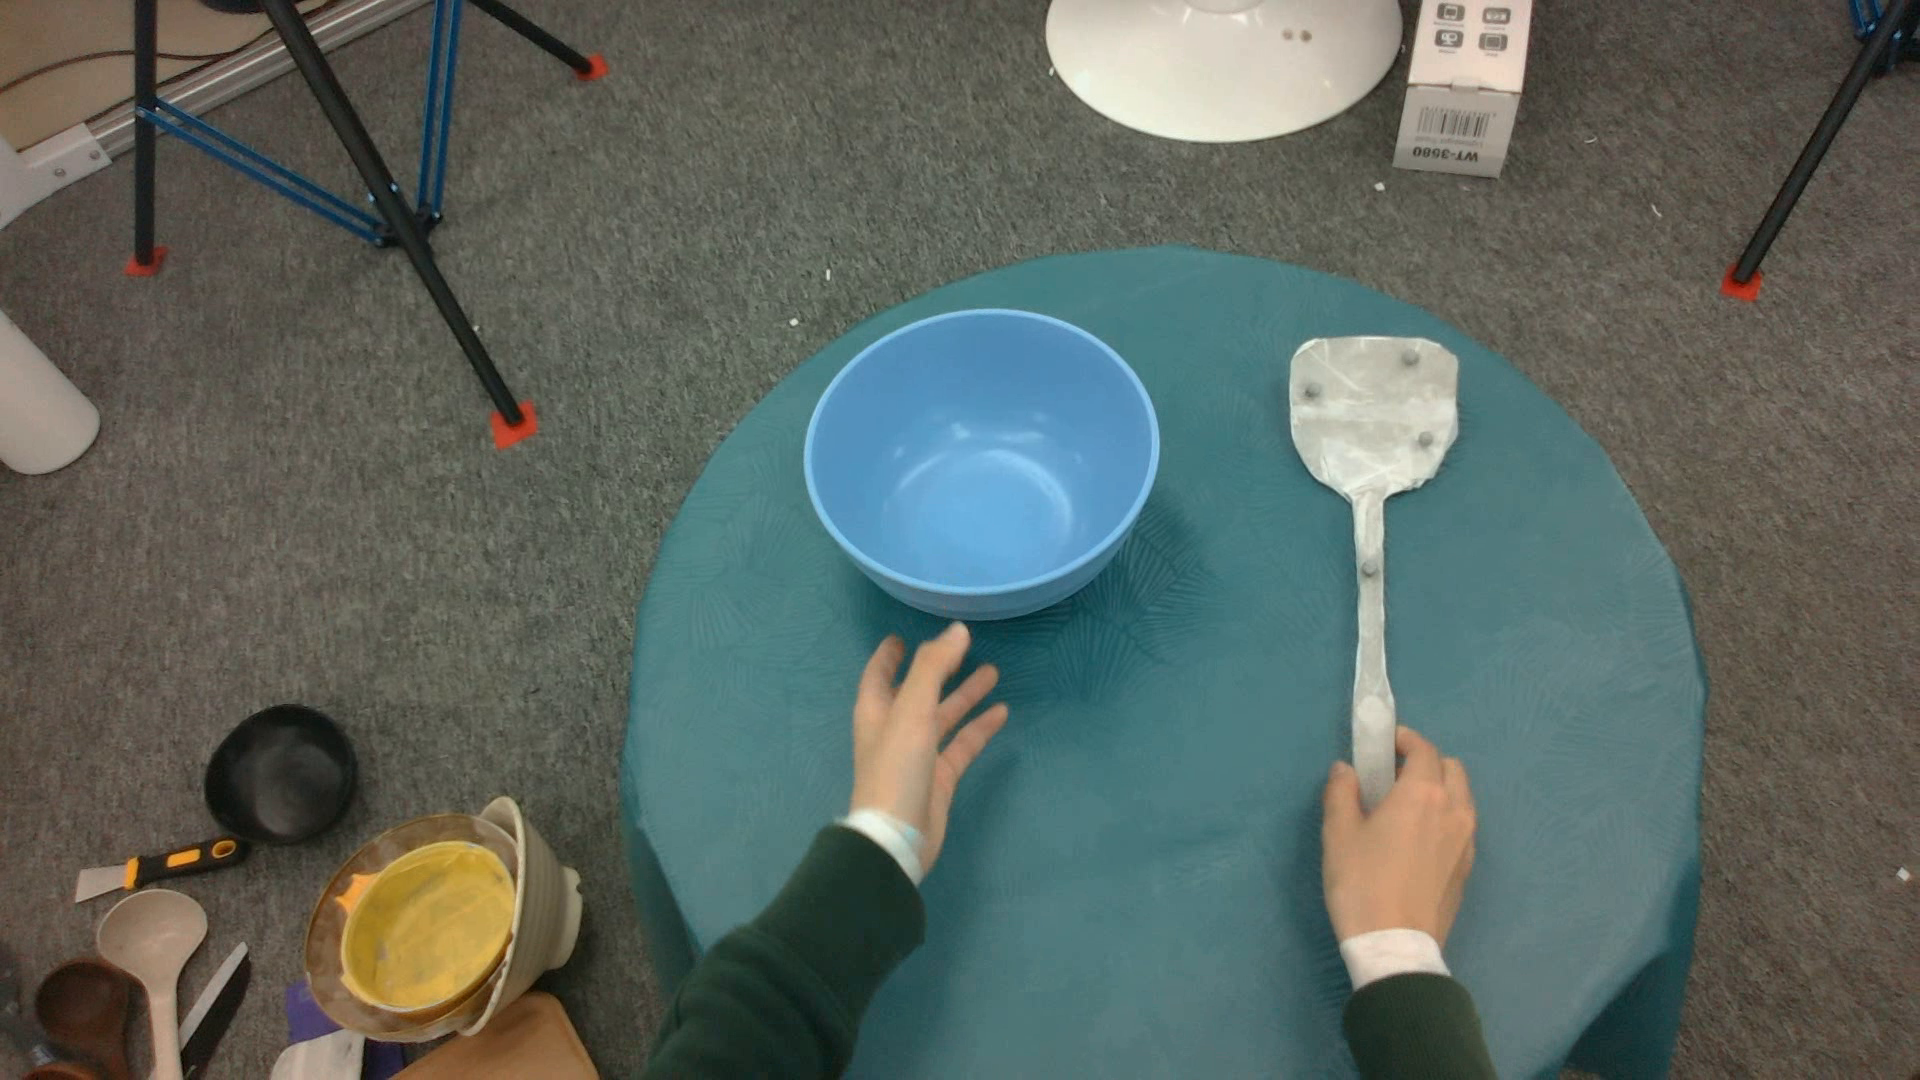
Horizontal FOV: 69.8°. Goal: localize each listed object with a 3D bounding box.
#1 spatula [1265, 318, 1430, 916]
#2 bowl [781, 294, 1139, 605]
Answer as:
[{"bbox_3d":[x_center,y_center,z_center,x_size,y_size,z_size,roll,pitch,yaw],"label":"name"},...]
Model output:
[{"bbox_3d":[0.212,0.027,0.768,0.098,0.044,0.366,6,57,8],"label":"spatula"},{"bbox_3d":[0.001,-0.038,0.792,0.196,0.095,0.197,-1,56,2],"label":"bowl"}]
